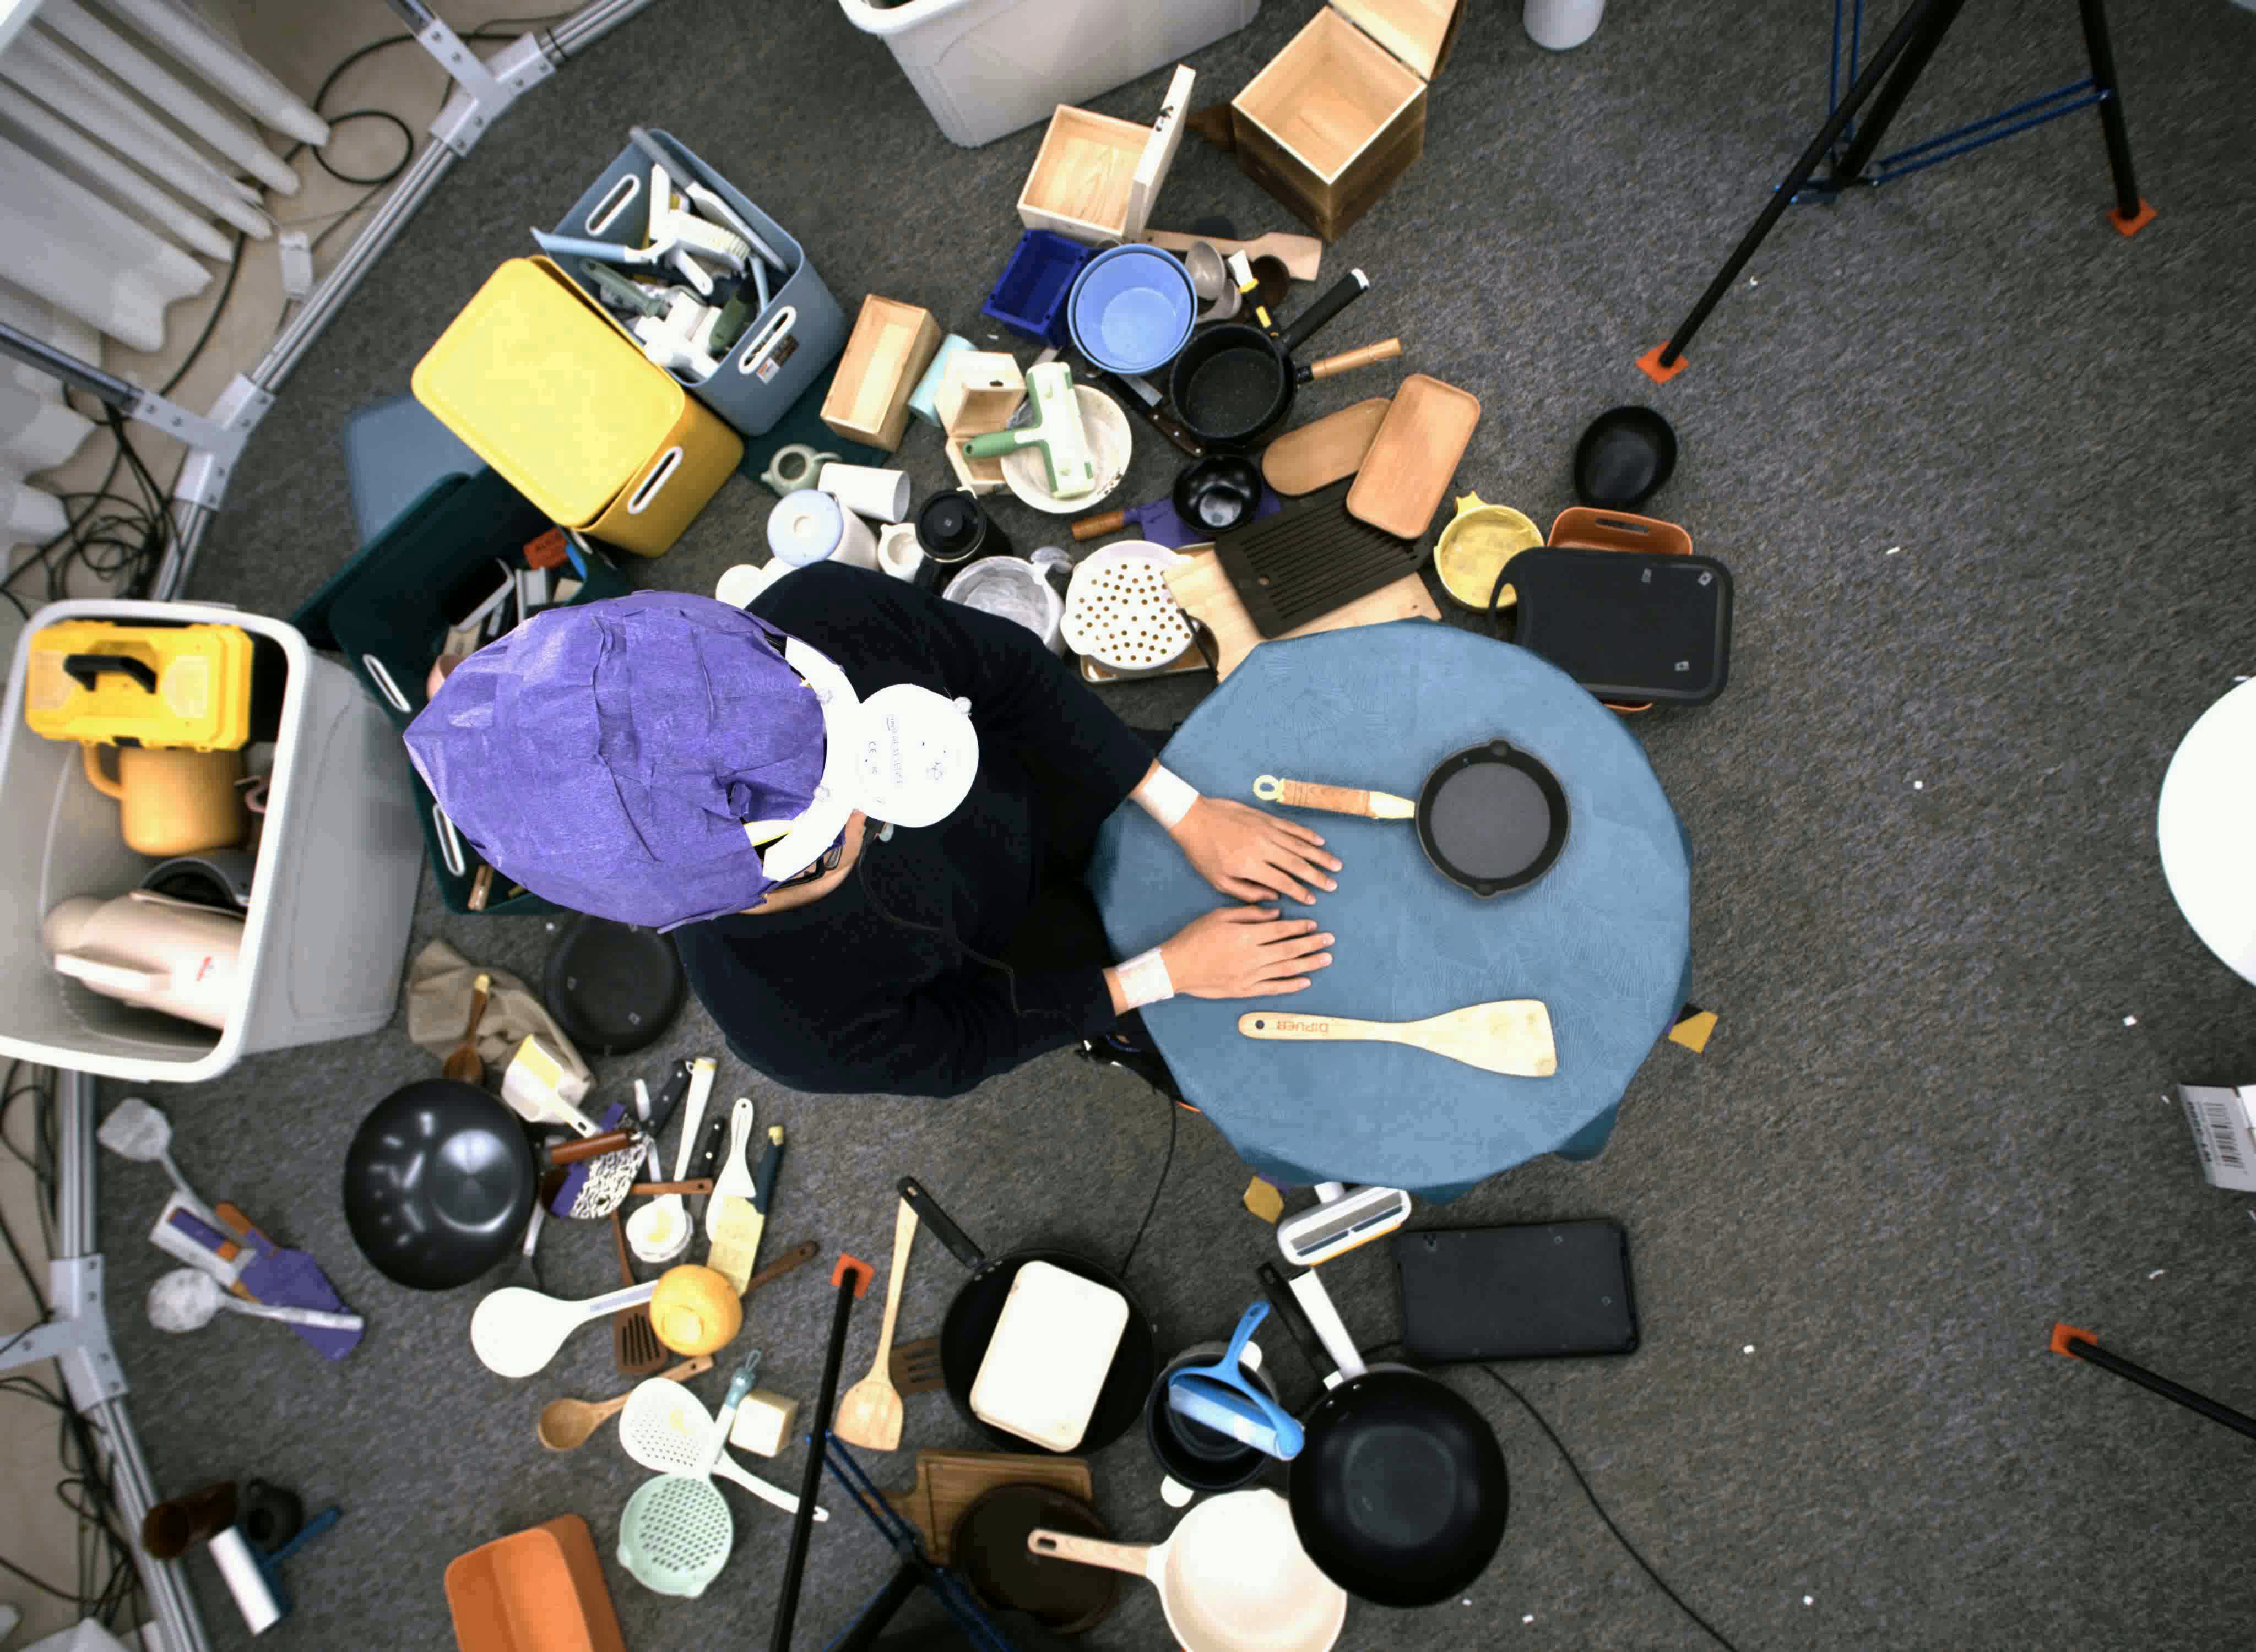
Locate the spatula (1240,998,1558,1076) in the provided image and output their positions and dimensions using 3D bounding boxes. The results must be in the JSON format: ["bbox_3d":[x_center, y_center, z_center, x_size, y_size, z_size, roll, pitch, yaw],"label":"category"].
[{"bbox_3d":[0.280,0.212,1.442,0.329,0.016,0.079,1,86,11],"label":"spatula"}]

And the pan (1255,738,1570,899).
[{"bbox_3d":[0.294,-0.022,1.435,0.325,0.049,0.168,9,88,9],"label":"pan"}]
